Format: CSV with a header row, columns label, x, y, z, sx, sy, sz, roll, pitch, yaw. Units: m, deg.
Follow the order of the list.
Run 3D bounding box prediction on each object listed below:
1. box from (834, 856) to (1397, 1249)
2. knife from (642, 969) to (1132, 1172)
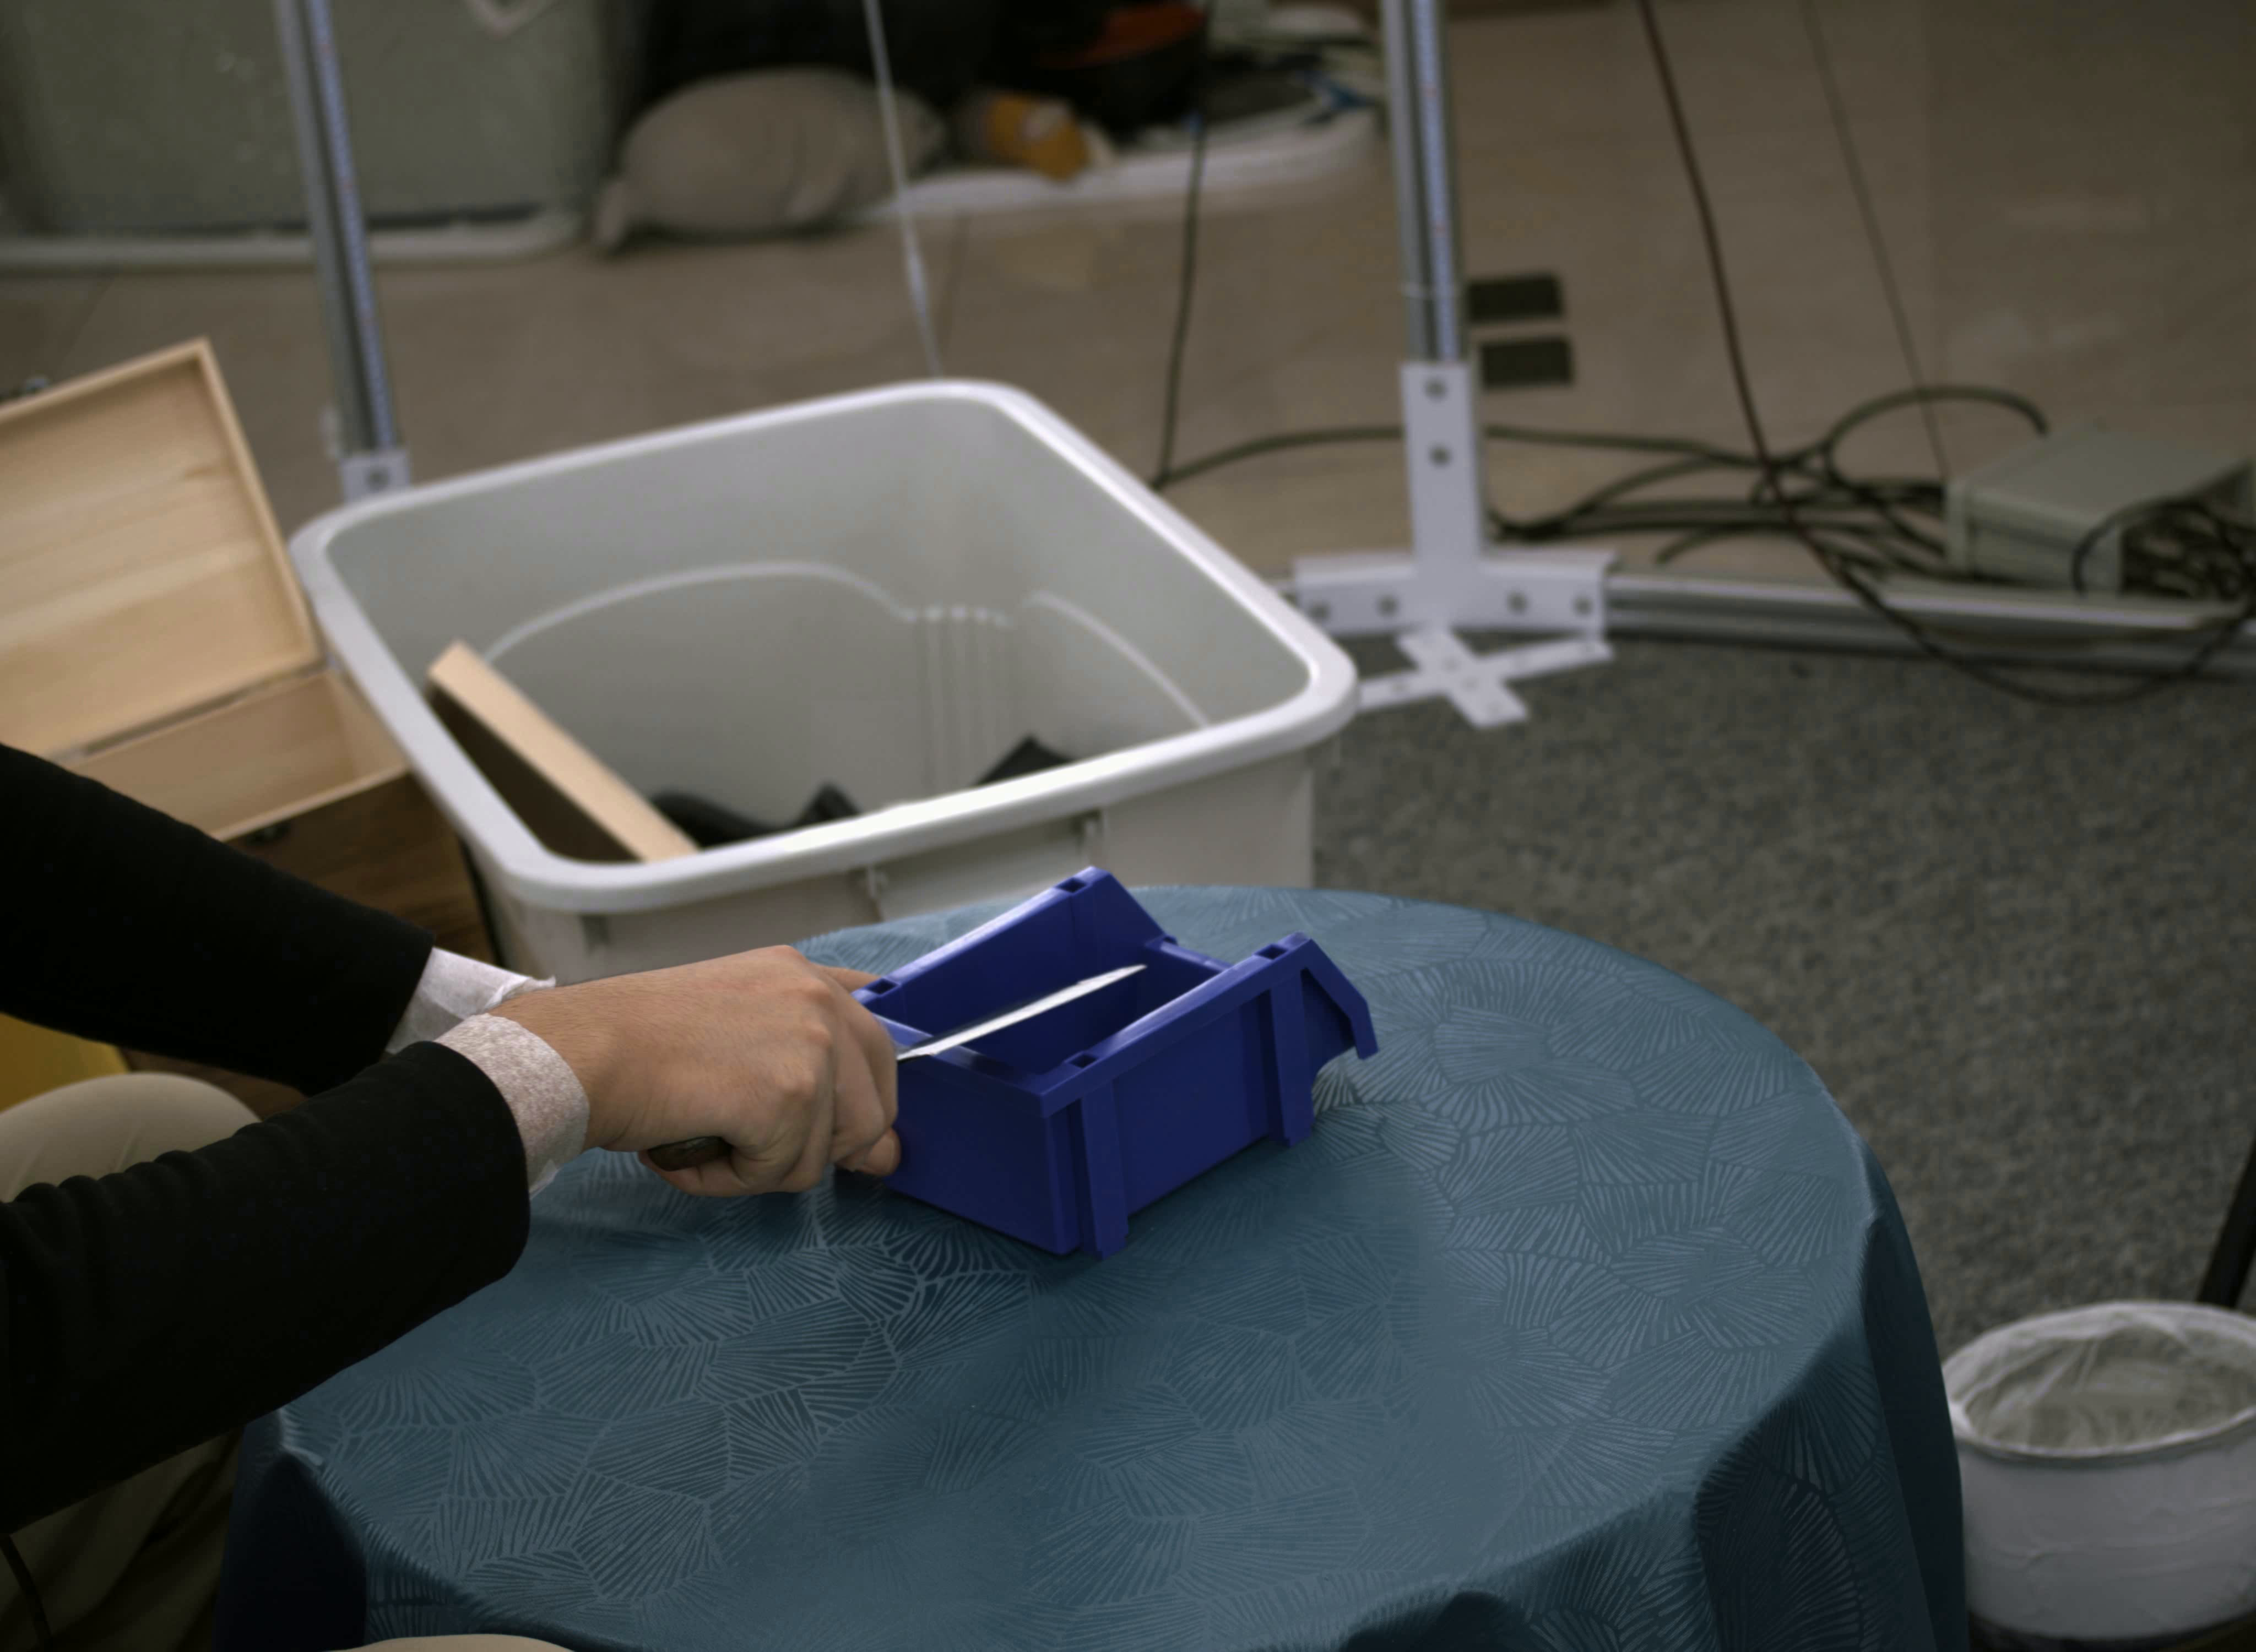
label,x,y,z,sx,sy,sz,roll,pitch,yaw
box,-0.004,0.082,2.172,0.178,0.083,0.123,-30,34,-36
knife,-0.080,0.081,2.028,0.050,0.020,0.287,-12,4,35
